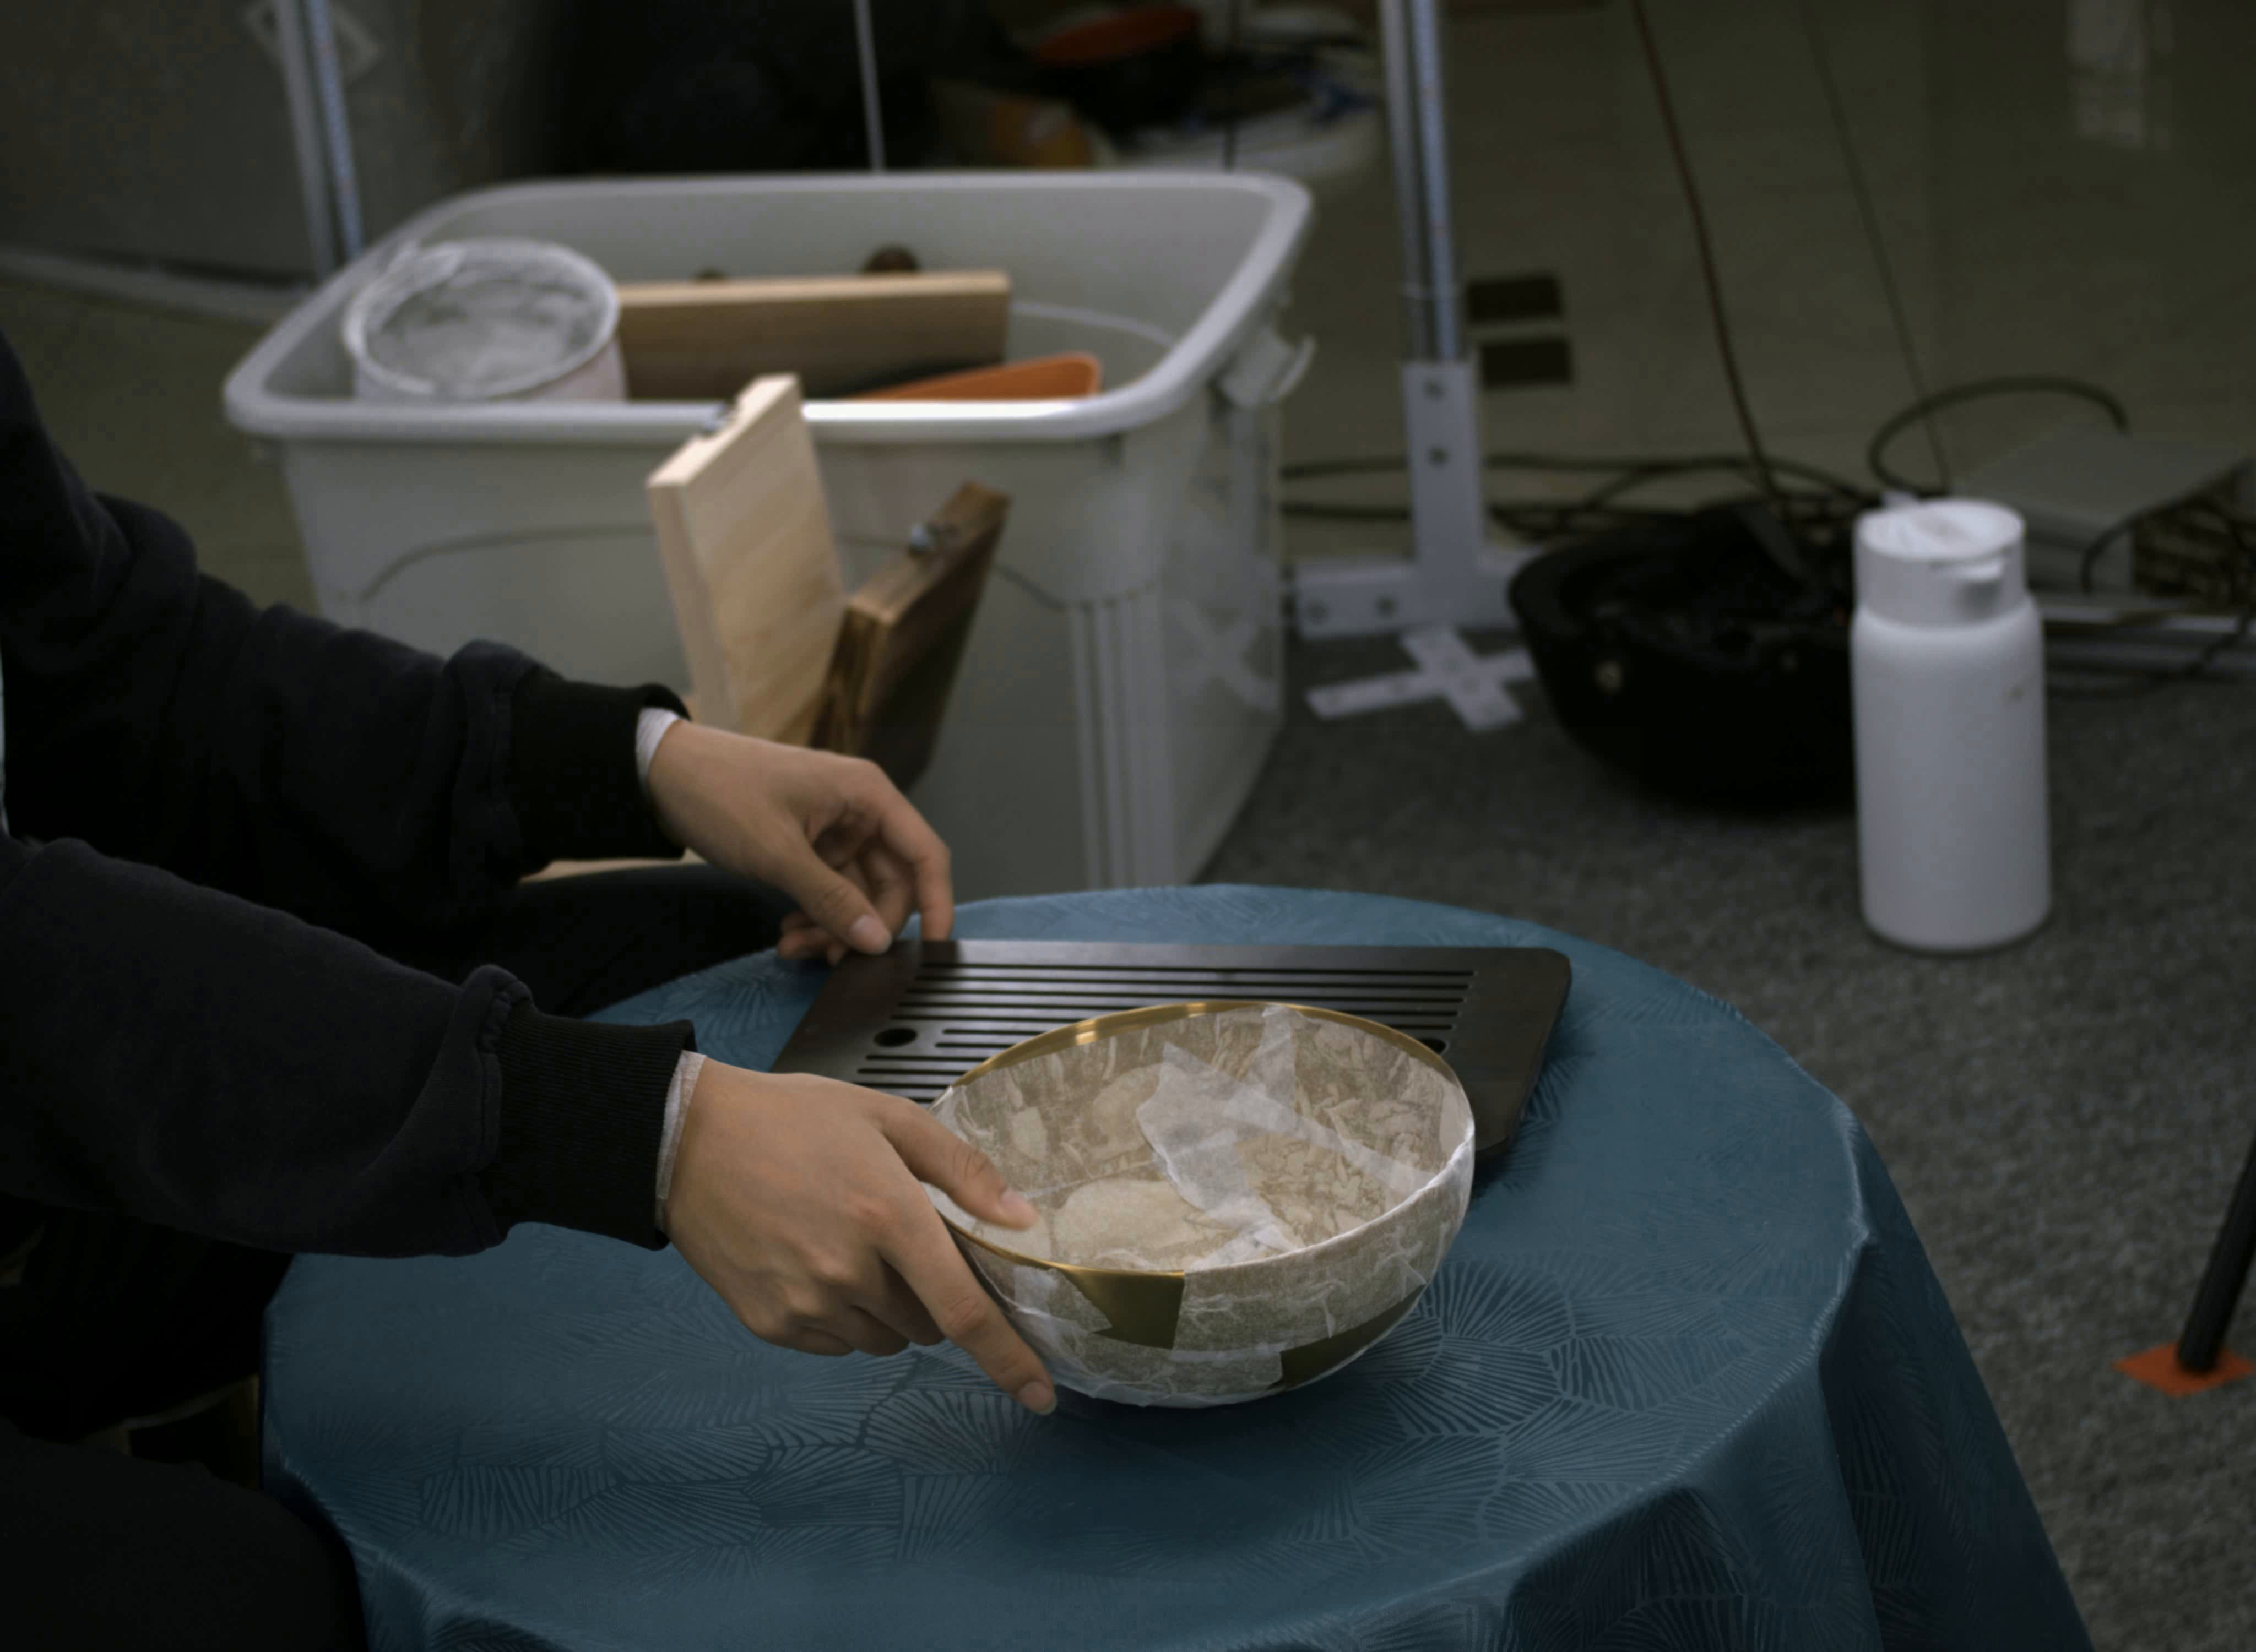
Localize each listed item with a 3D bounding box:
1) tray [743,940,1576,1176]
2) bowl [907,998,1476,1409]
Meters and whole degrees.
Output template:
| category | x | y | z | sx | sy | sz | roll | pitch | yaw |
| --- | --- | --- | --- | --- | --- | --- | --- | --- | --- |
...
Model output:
| category | x | y | z | sx | sy | sz | roll | pitch | yaw |
| --- | --- | --- | --- | --- | --- | --- | --- | --- | --- |
| tray | 0.015 | 0.091 | 2.232 | 0.305 | 0.019 | 0.168 | 0 | 26 | 15 |
| bowl | 0.024 | 0.145 | 2.022 | 0.214 | 0.096 | 0.211 | -5 | 26 | 3 |
